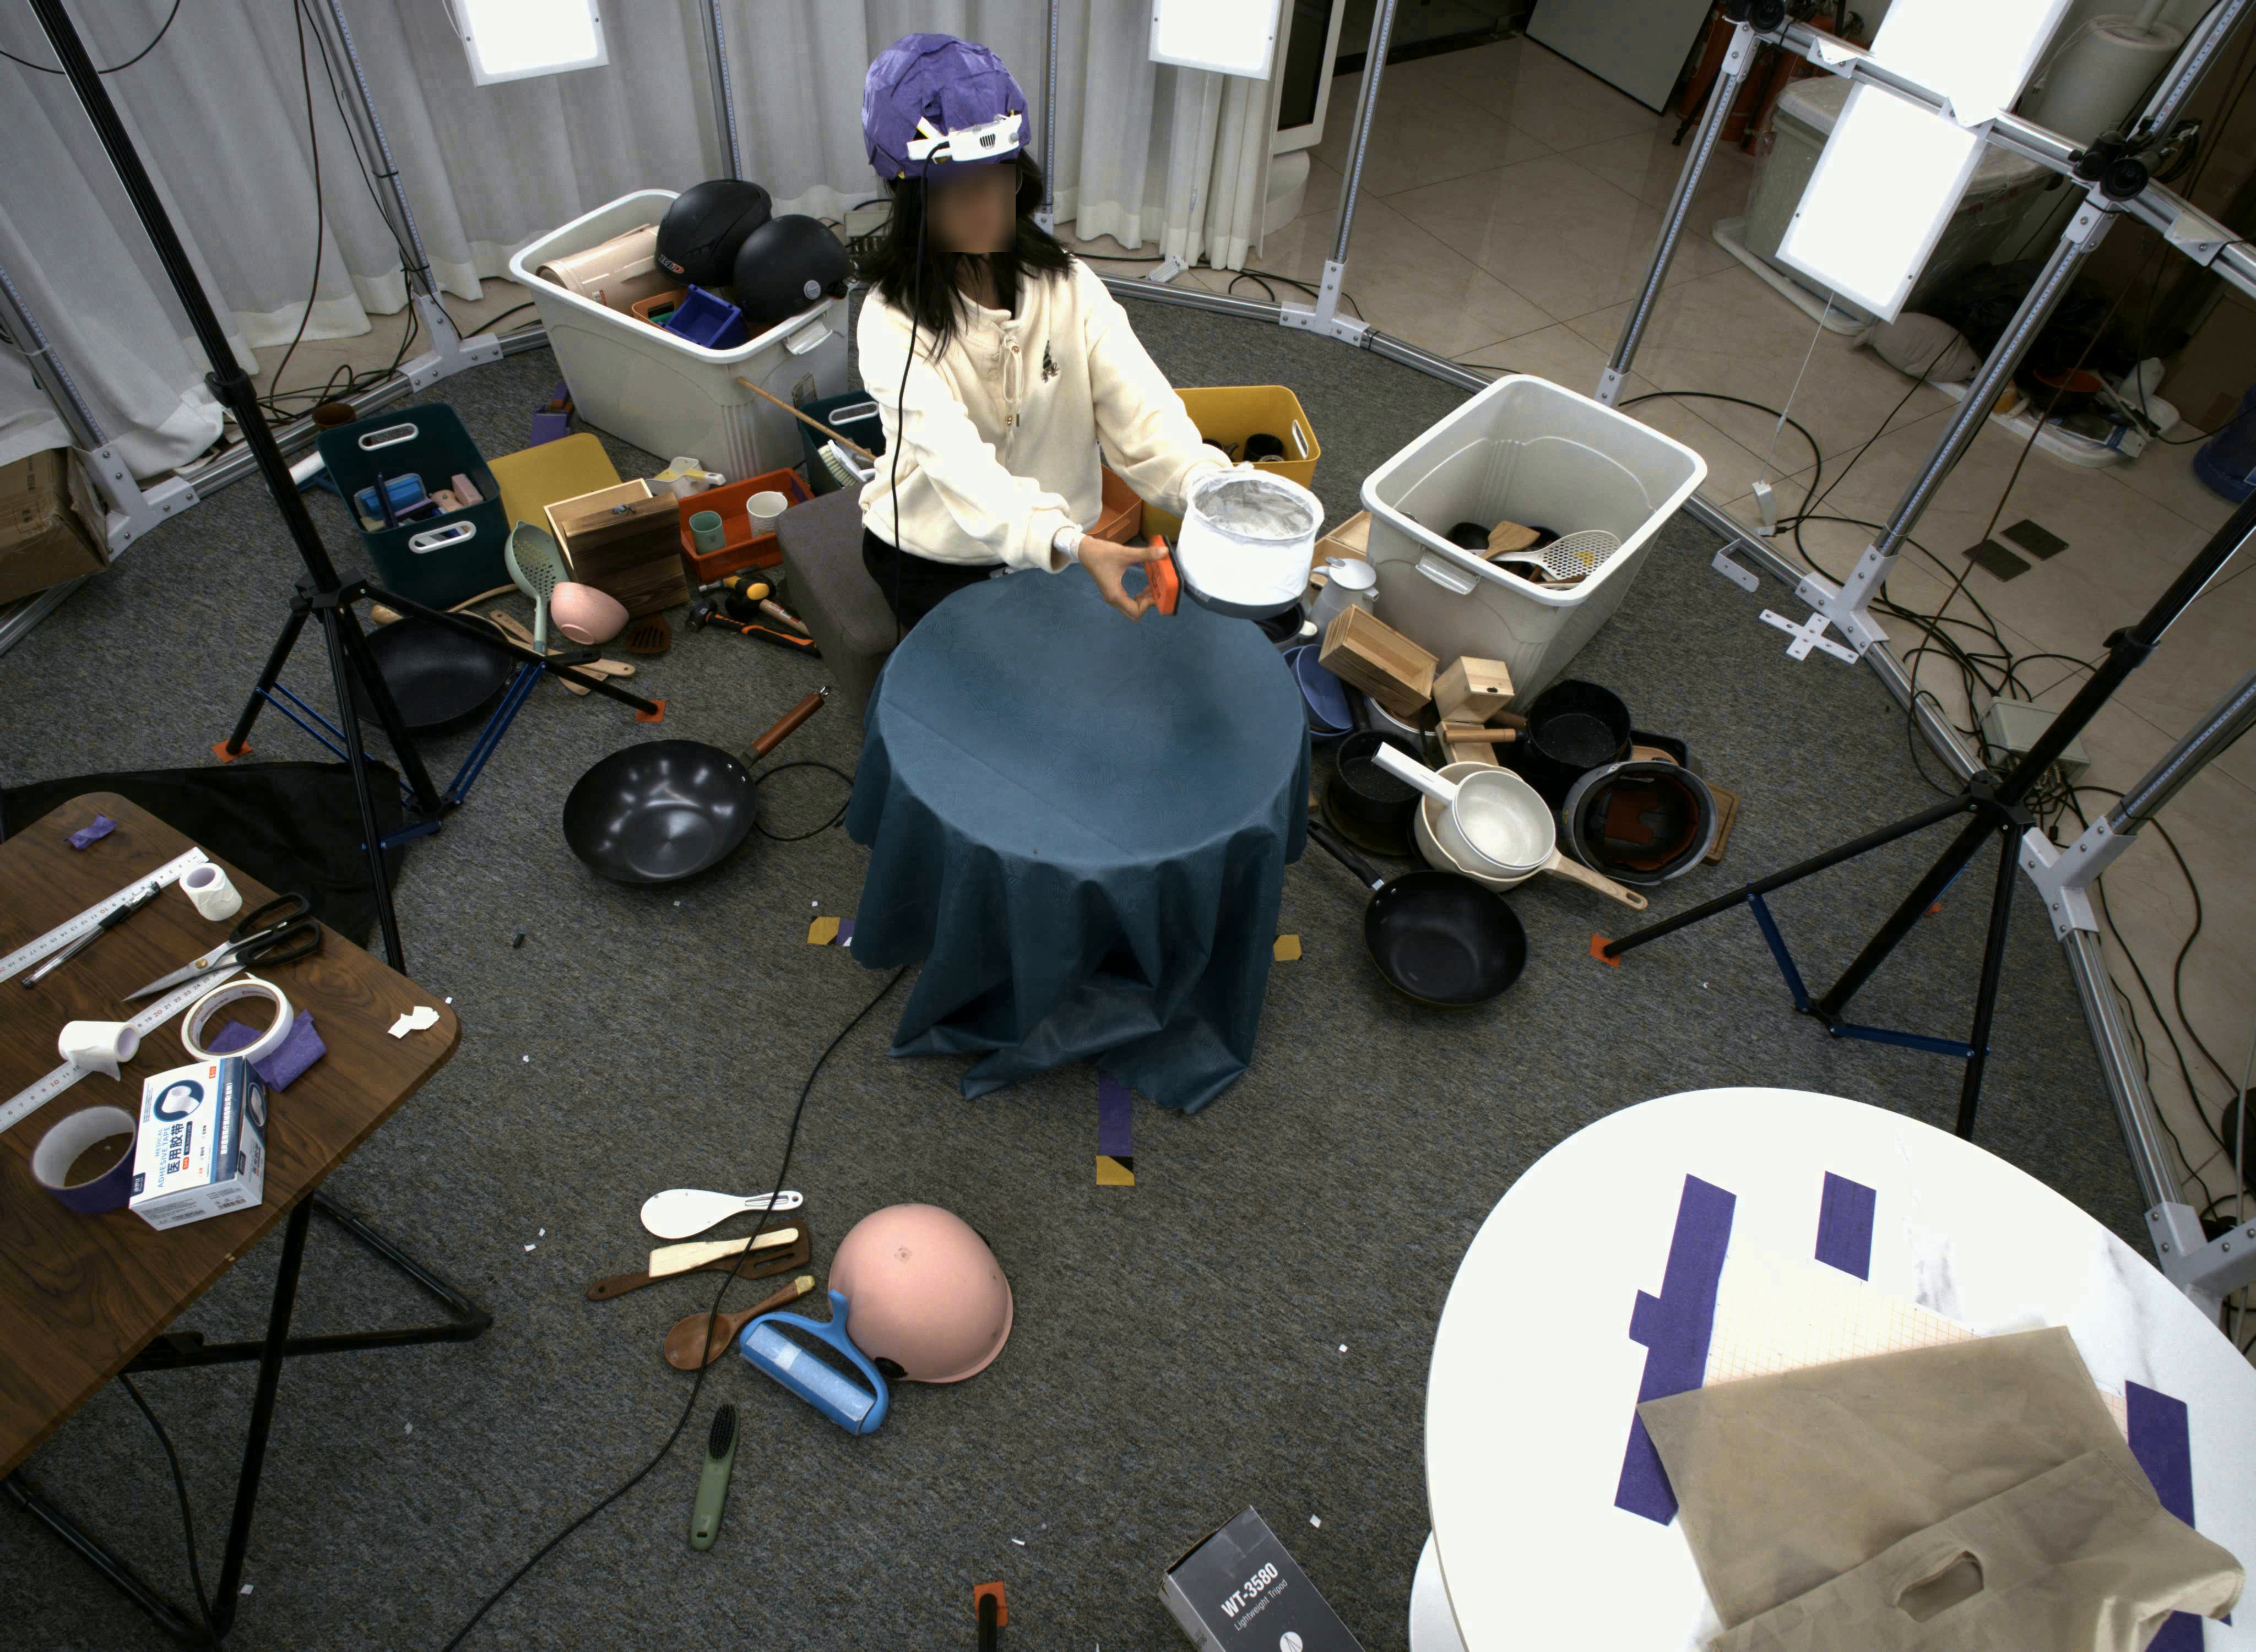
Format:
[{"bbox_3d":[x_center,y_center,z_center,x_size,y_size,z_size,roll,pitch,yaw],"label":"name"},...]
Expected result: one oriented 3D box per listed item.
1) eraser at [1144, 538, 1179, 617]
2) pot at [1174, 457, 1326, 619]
[{"bbox_3d":[0.043,-0.321,1.659,0.023,0.057,0.111,-2,45,-11],"label":"eraser"},{"bbox_3d":[0.150,-0.380,1.668,0.178,0.133,0.239,3,42,-8],"label":"pot"}]
